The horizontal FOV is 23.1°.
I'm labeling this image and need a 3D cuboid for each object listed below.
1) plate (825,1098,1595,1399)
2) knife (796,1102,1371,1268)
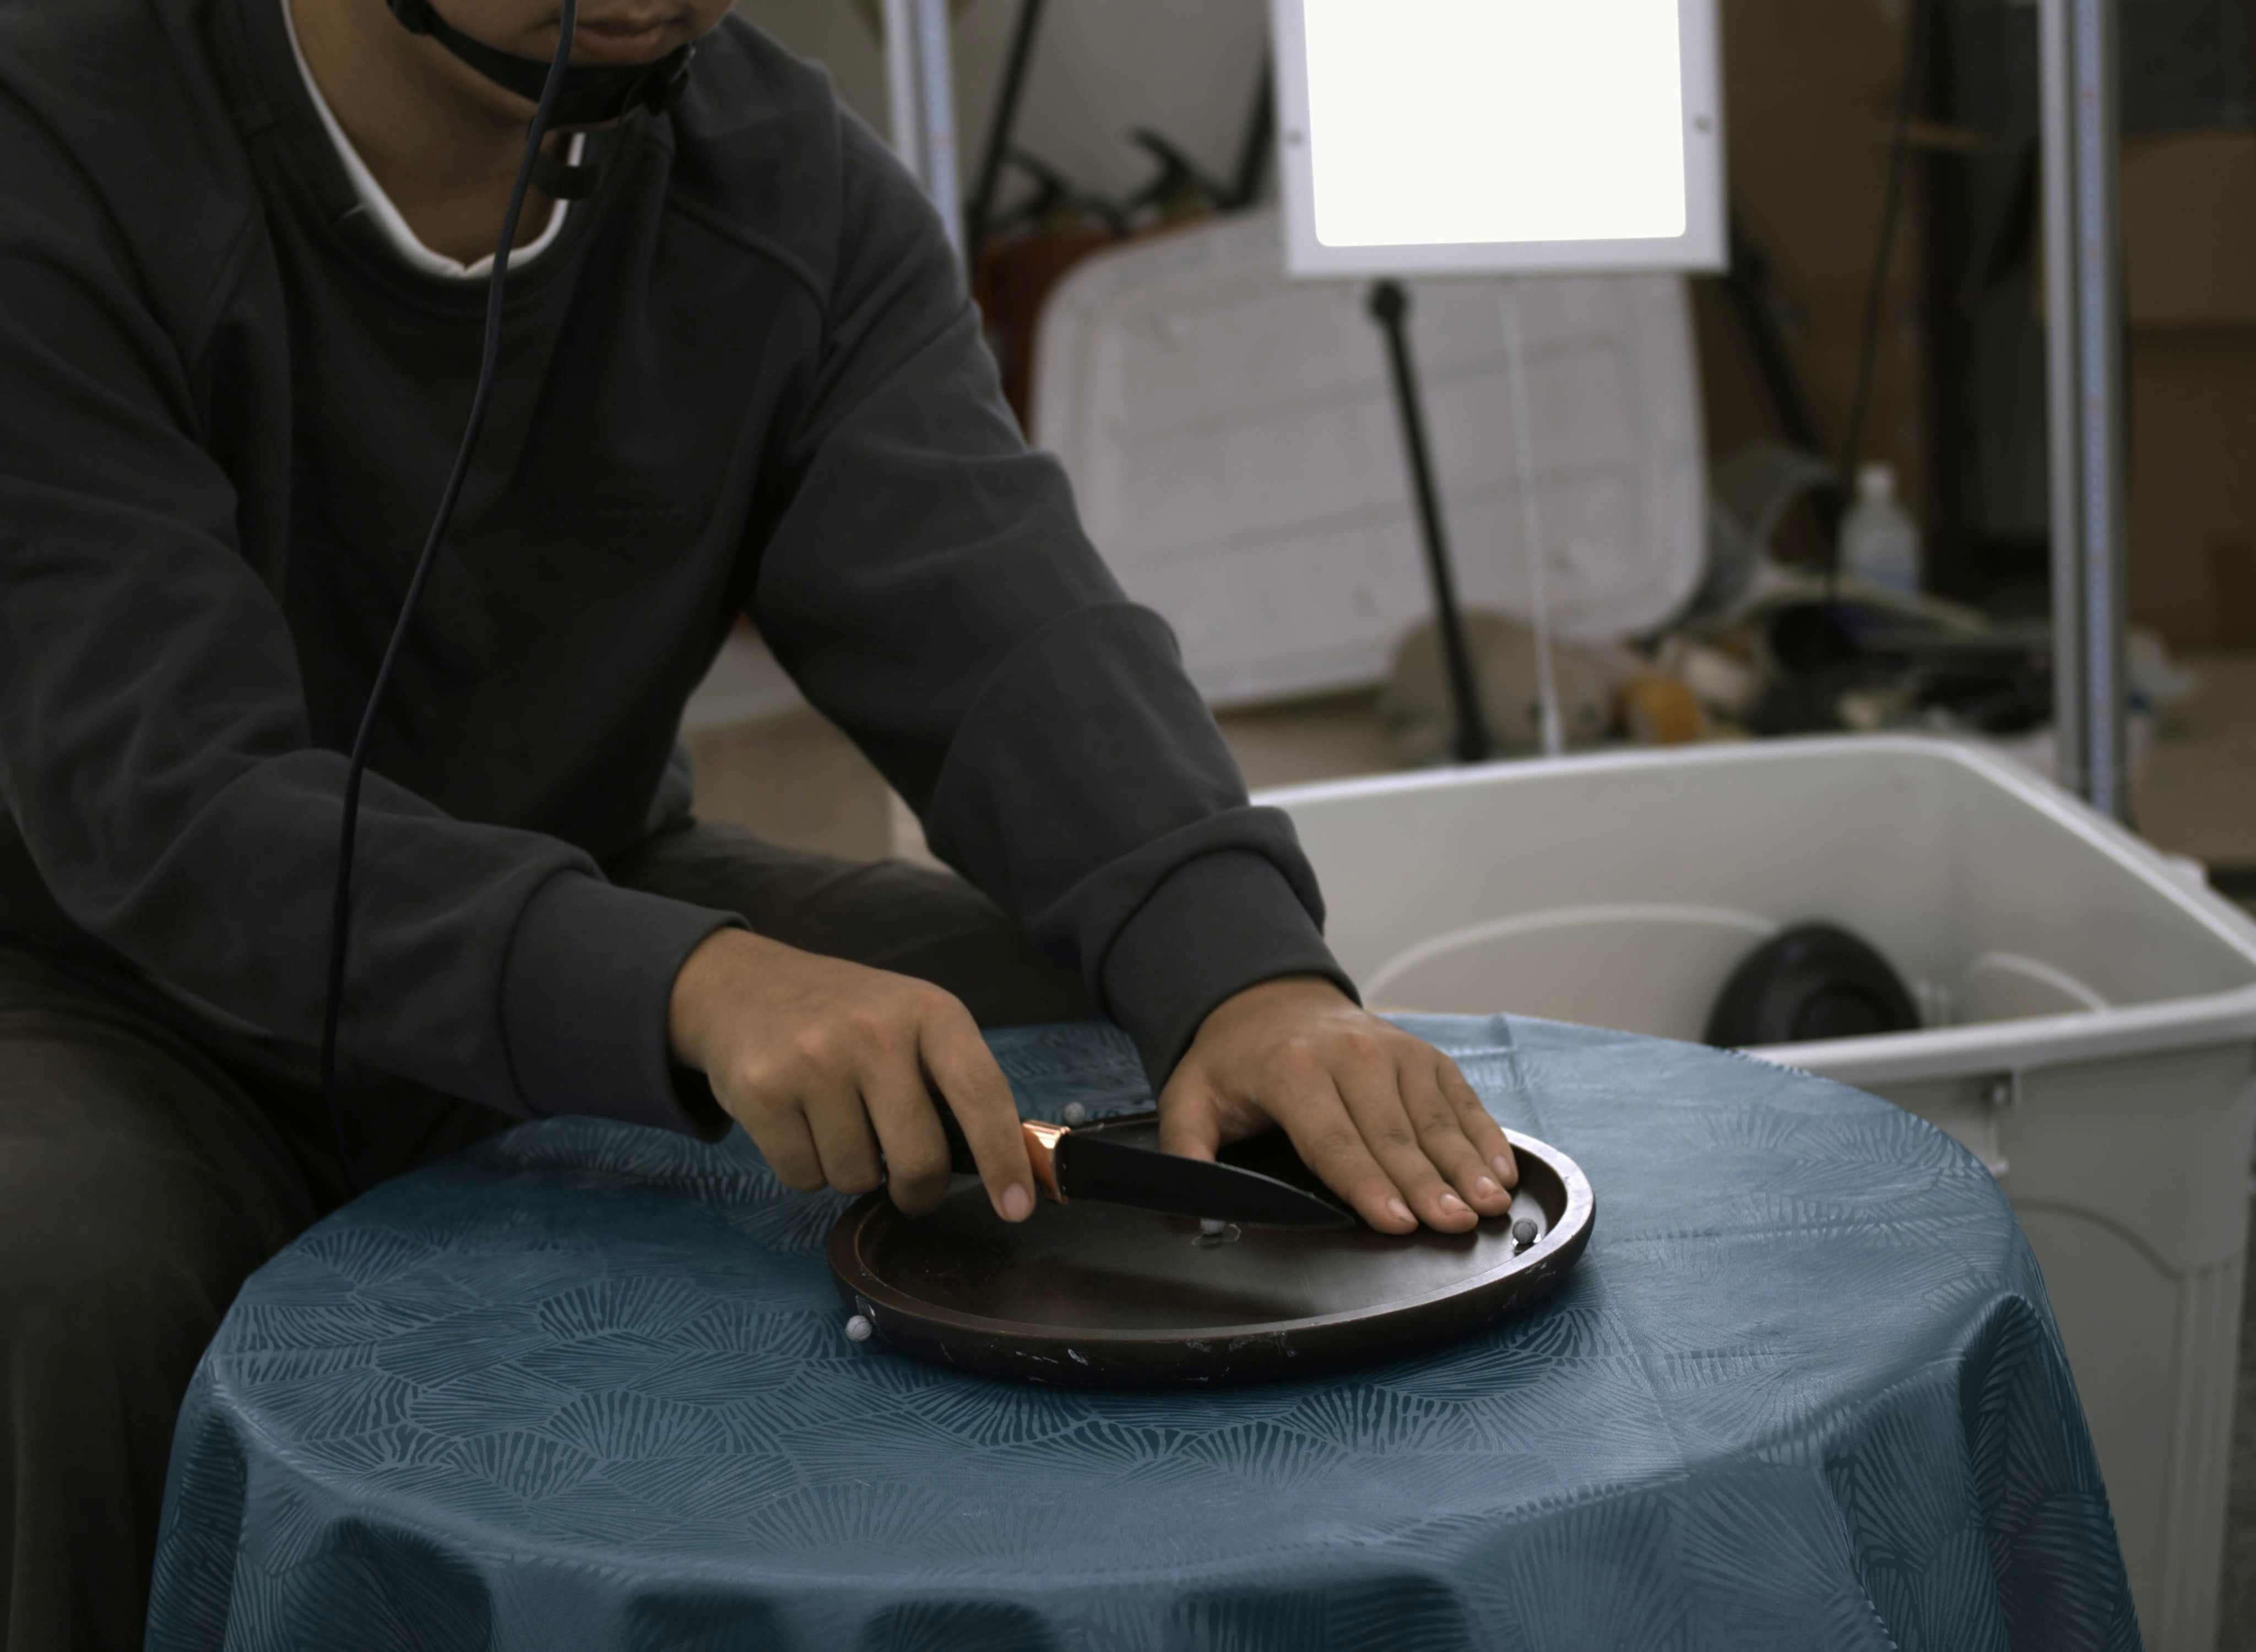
[{"bbox_3d":[0.027,0.136,1.801,0.254,0.029,0.254,-6,13,0],"label":"plate"},{"bbox_3d":[-0.017,0.117,1.808,0.230,0.026,0.017,9,20,34],"label":"knife"}]
